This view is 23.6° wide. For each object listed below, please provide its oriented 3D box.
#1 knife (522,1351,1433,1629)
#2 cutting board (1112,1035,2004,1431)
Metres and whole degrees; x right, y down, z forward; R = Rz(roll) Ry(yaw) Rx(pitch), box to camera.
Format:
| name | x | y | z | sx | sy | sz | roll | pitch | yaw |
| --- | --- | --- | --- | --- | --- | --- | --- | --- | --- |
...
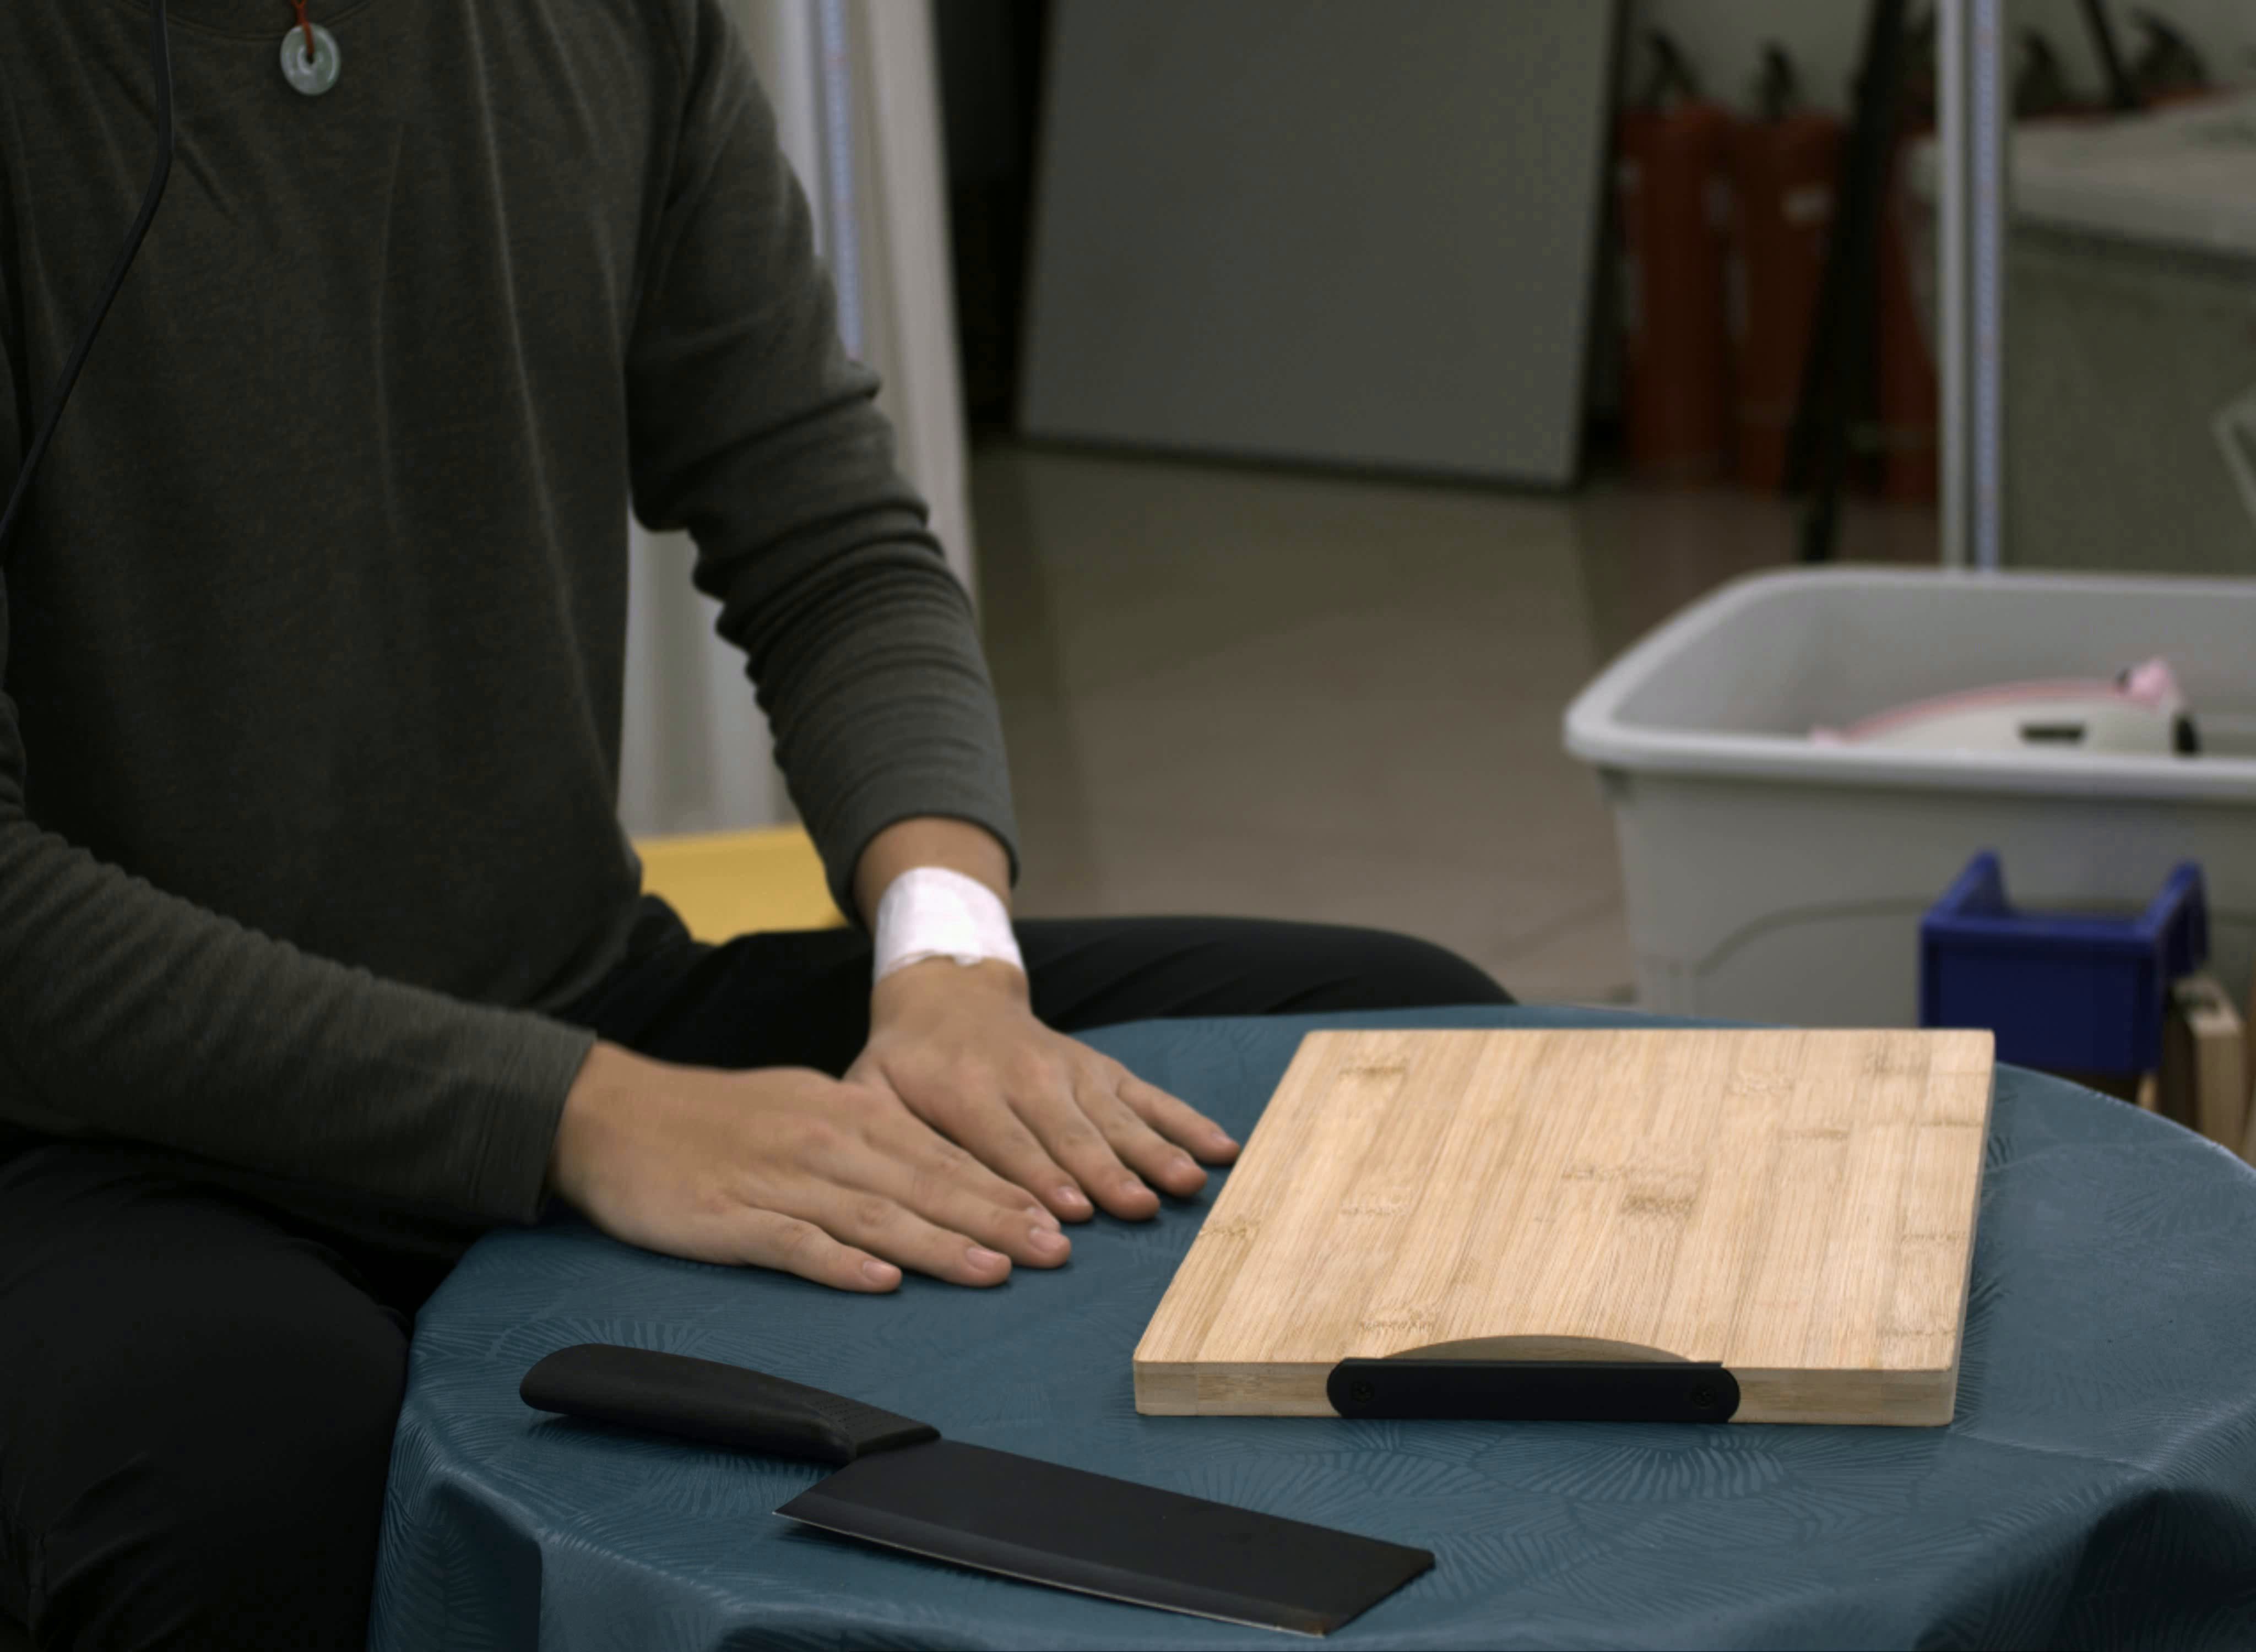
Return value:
| name | x | y | z | sx | sy | sz | roll | pitch | yaw |
| --- | --- | --- | --- | --- | --- | --- | --- | --- | --- |
| knife | -0.053 | 0.184 | 1.502 | 0.304 | 0.021 | 0.079 | 9 | 20 | 39 |
| cutting board | 0.147 | 0.123 | 1.691 | 0.249 | 0.024 | 0.347 | -2 | 13 | 12 |
